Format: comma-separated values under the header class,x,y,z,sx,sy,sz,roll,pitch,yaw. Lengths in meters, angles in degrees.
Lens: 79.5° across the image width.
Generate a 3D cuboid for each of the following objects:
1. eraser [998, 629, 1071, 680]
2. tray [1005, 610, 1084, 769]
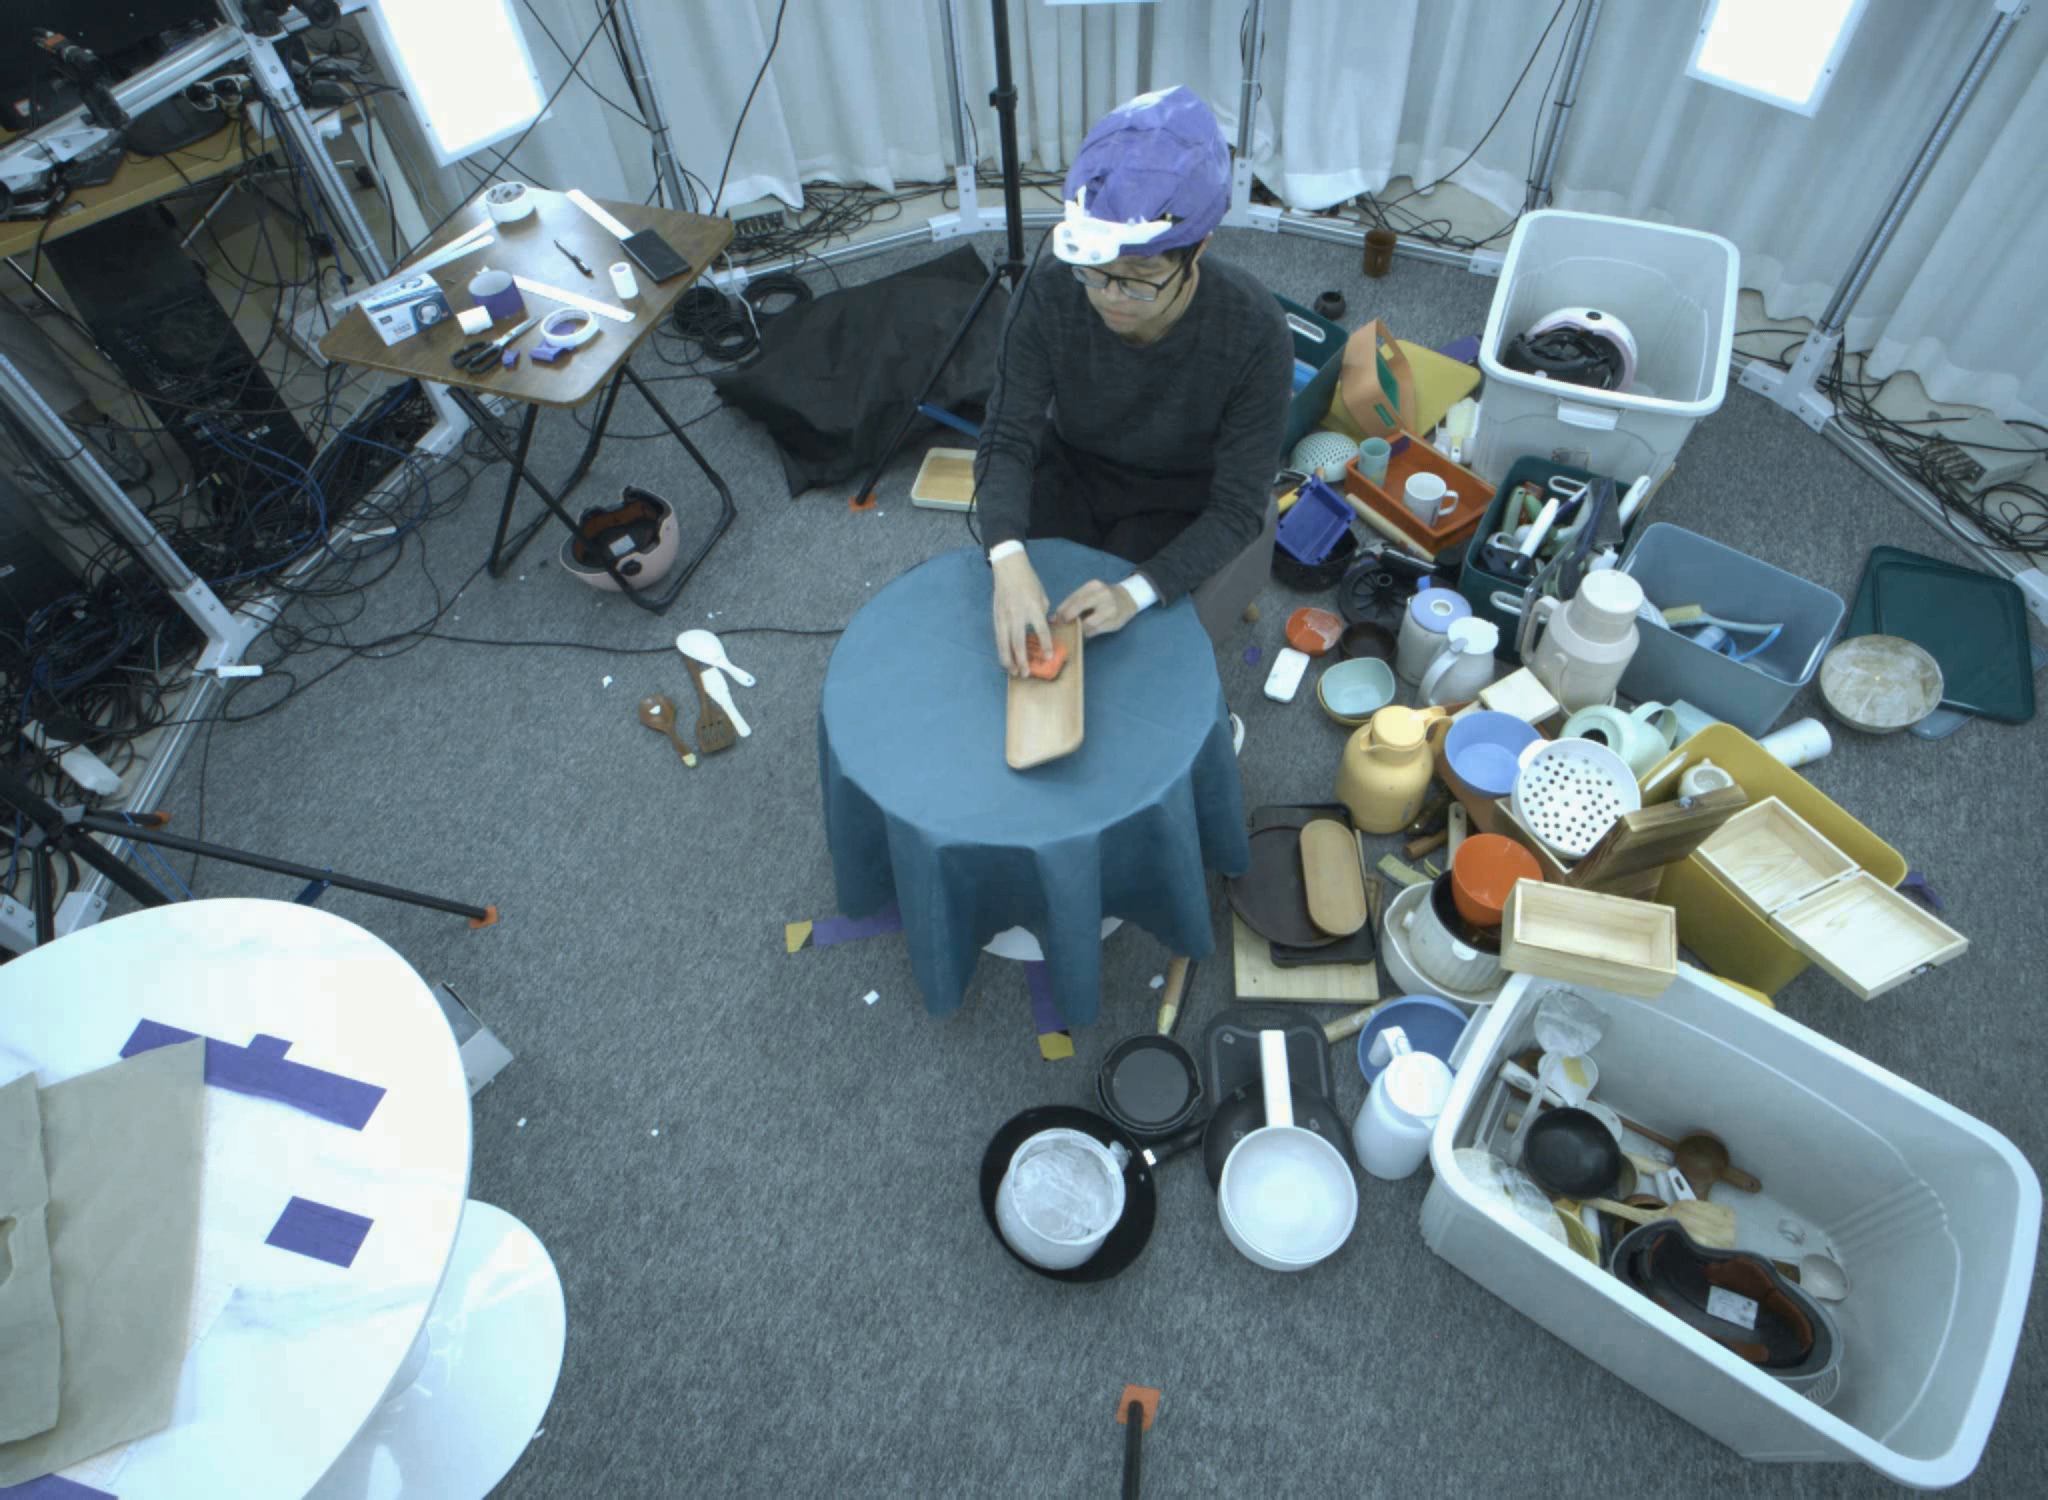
class,x,y,z,sx,sy,sz,roll,pitch,yaw
eraser,0.015,-0.142,1.824,0.105,0.023,0.059,19,71,38
tray,0.031,-0.089,1.799,0.129,0.023,0.248,-15,54,26
